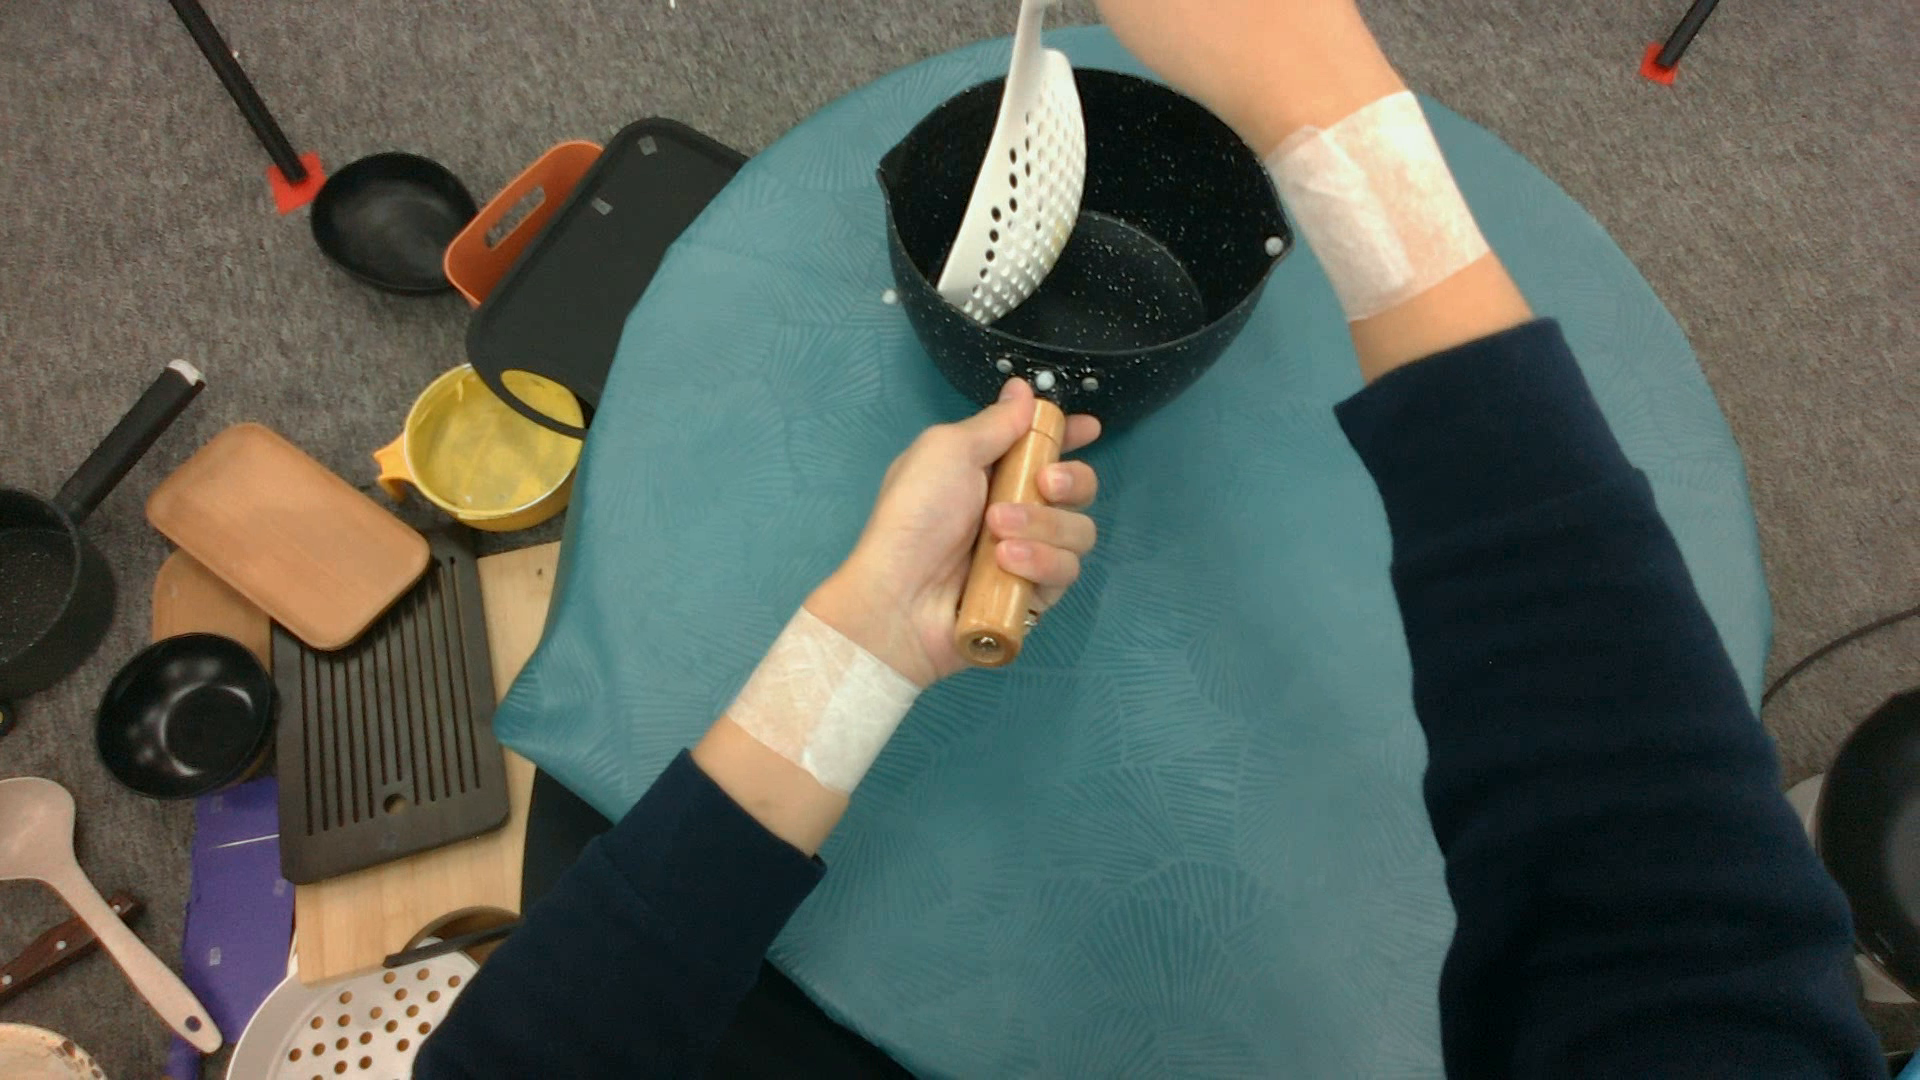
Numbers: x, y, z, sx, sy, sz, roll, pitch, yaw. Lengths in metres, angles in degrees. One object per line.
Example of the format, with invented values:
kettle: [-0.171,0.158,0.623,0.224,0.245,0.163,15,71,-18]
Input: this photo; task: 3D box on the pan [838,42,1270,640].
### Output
pan: [0.030,-0.087,0.631,0.207,0.108,0.344,10,58,1]

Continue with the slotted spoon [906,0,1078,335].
slotted spoon: [0.031,-0.184,0.547,0.050,0.347,0.137,28,73,7]
